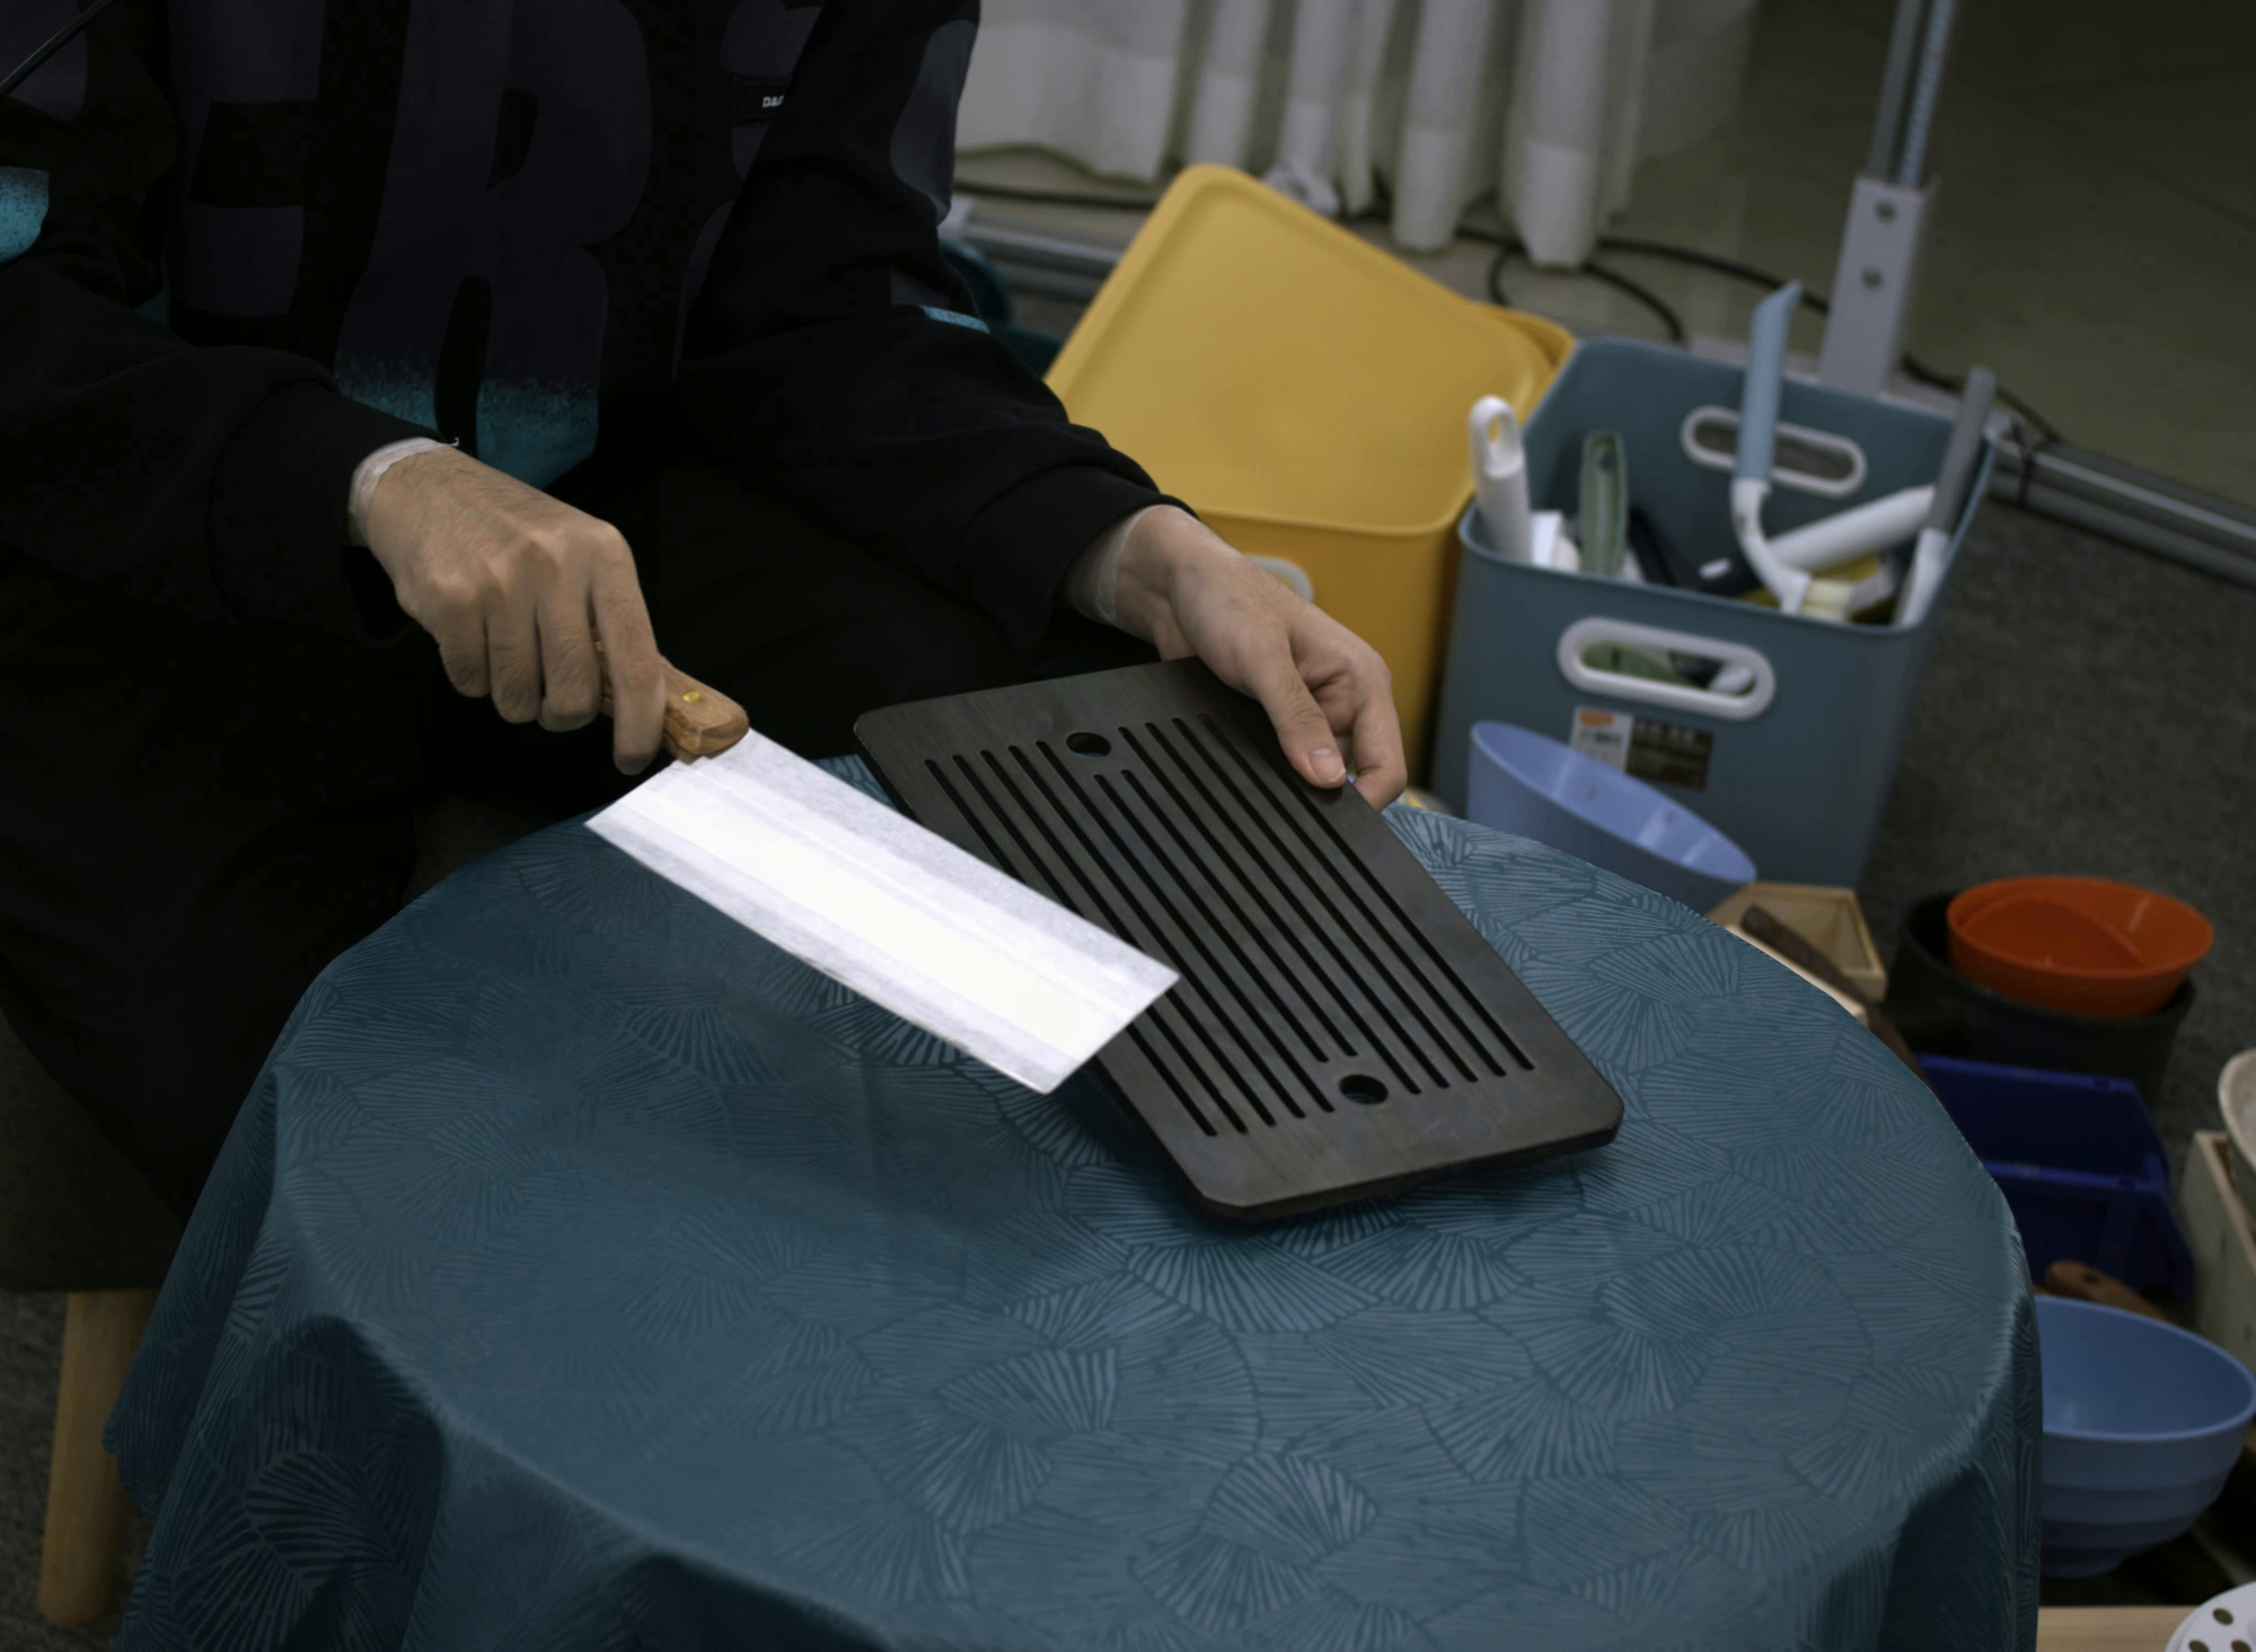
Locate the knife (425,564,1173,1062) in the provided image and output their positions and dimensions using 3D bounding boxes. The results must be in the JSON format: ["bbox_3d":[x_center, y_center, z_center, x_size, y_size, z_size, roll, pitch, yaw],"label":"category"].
[{"bbox_3d":[-0.129,-0.002,1.824,0.307,0.021,0.093,29,38,18],"label":"knife"}]

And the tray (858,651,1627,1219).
[{"bbox_3d":[0.036,0.035,1.920,0.169,0.018,0.309,-10,39,-25],"label":"tray"}]
